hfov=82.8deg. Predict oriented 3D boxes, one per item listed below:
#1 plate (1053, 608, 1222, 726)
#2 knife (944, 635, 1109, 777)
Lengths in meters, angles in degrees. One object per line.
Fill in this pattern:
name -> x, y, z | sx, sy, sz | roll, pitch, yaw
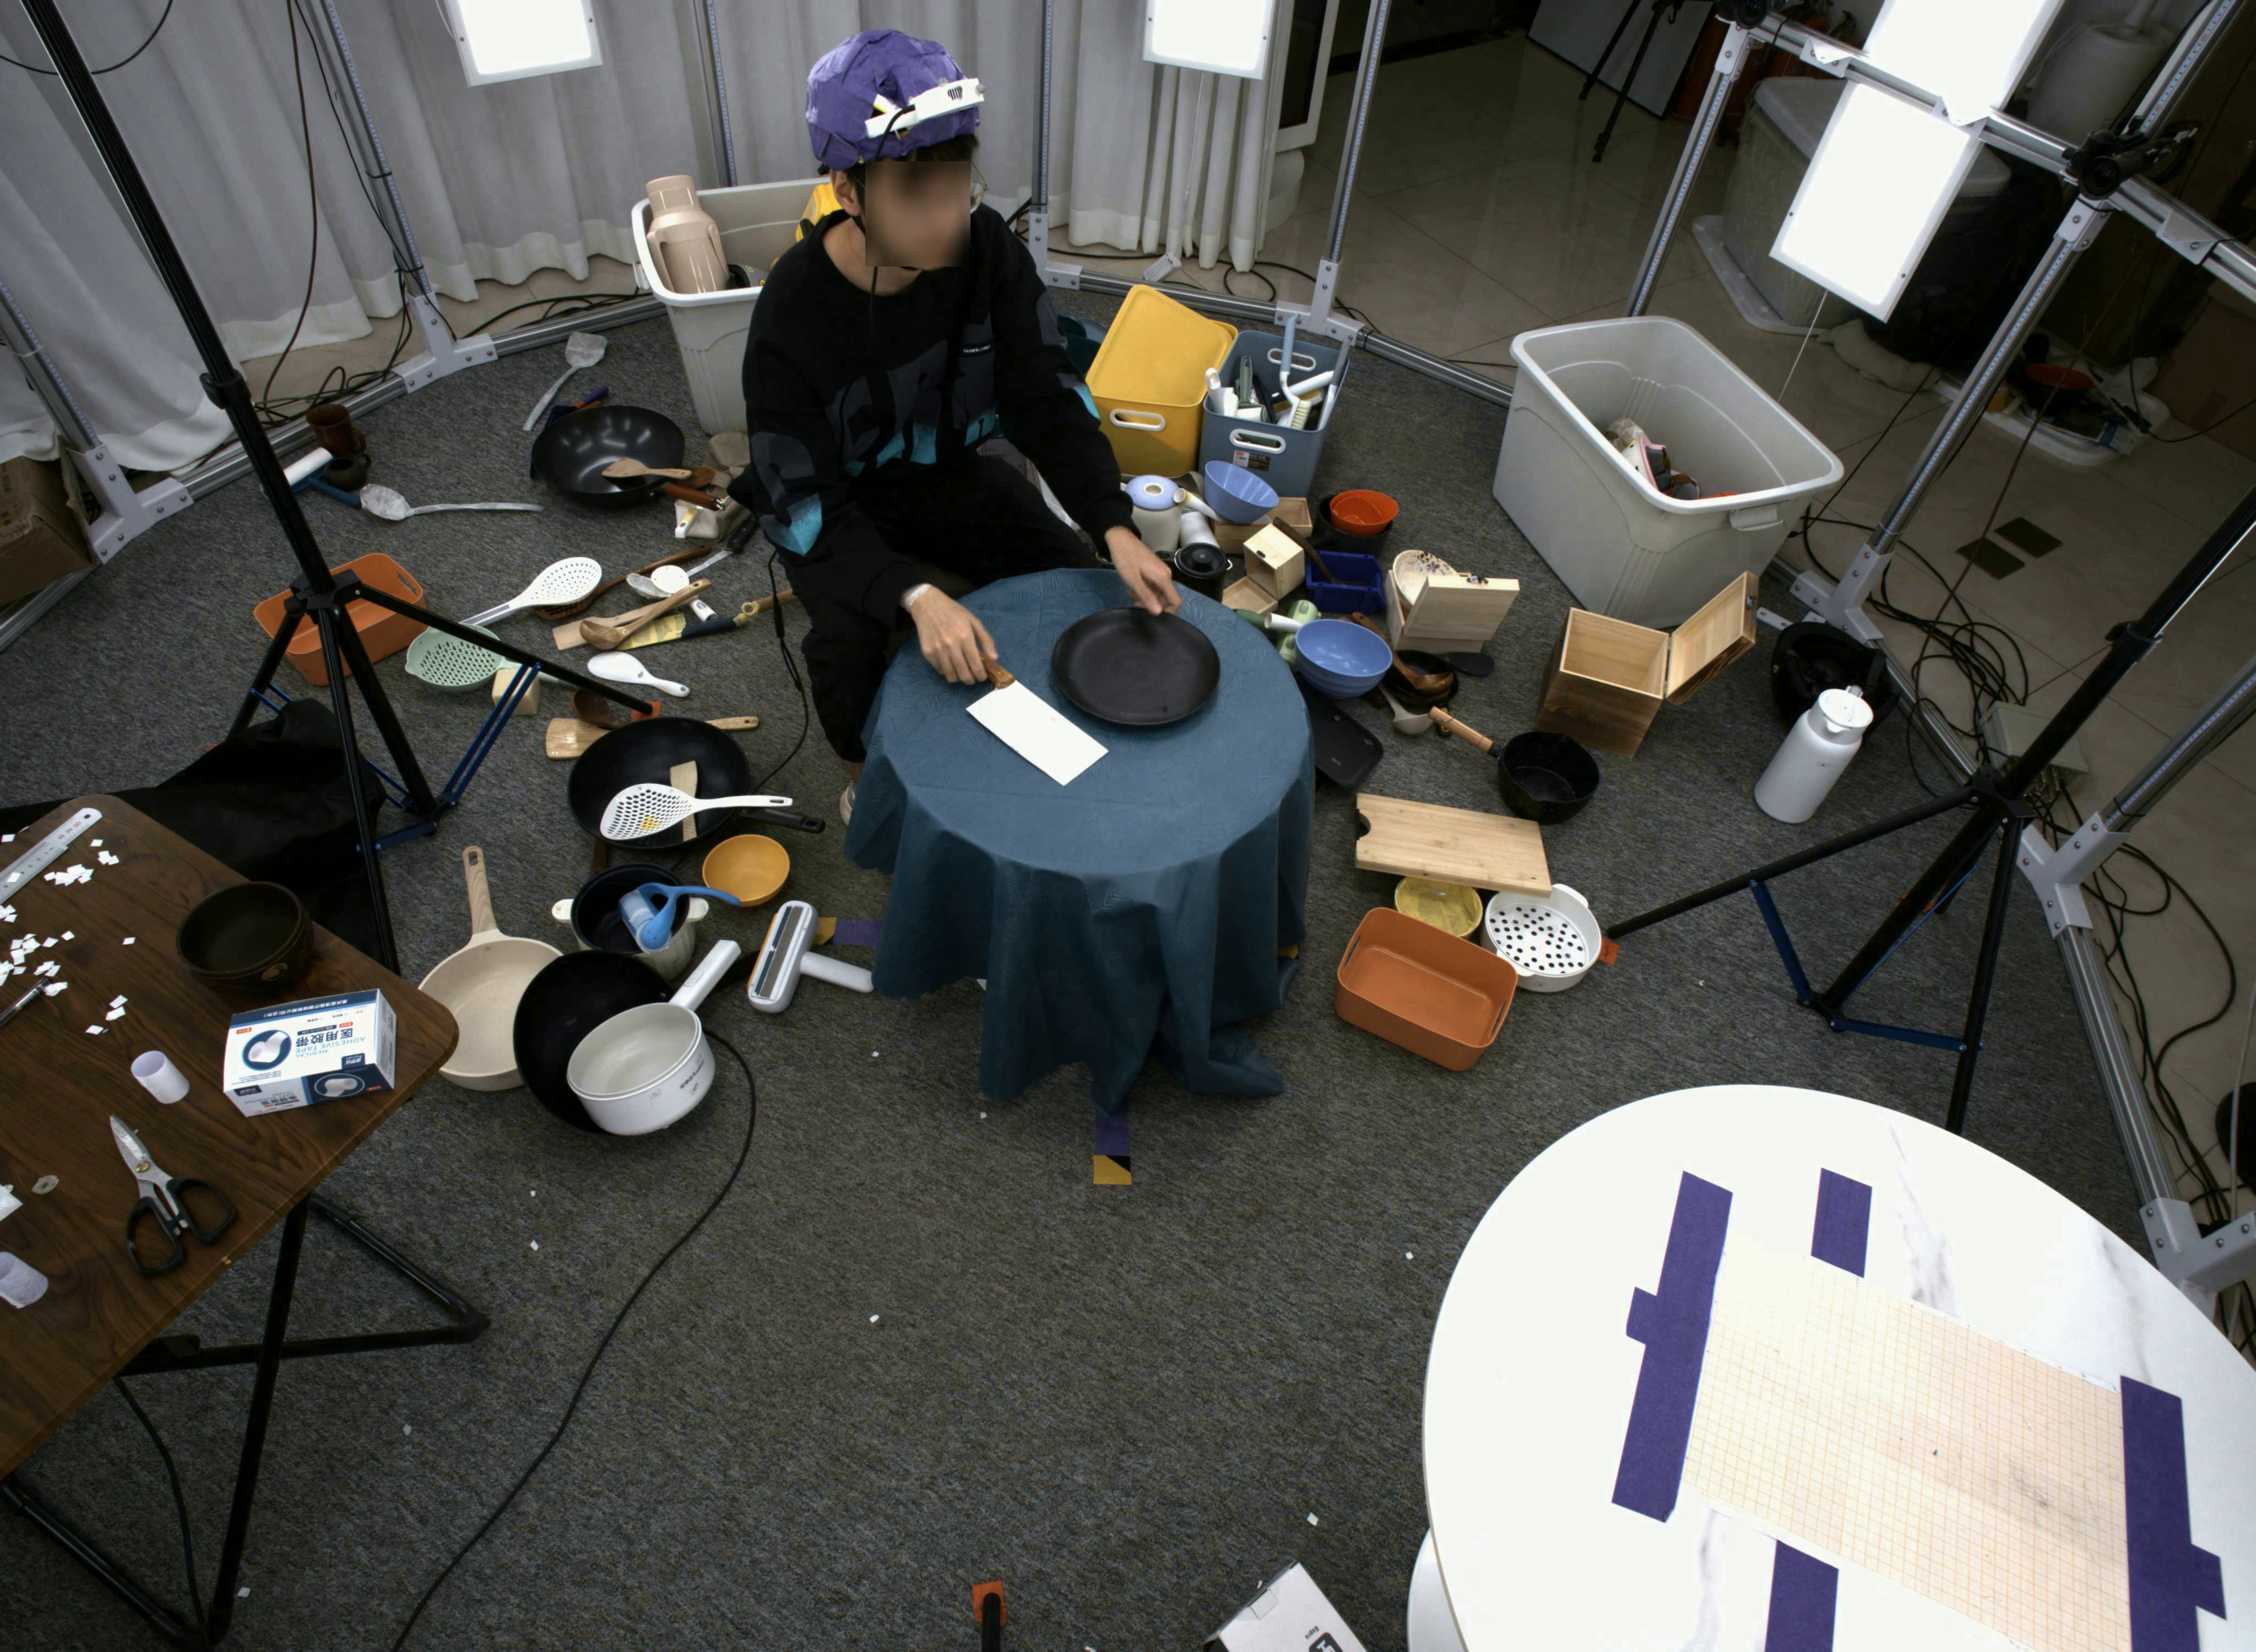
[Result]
plate -> 0.014, -0.227, 1.851 | 0.244, 0.023, 0.250 | 2, 49, -2
knife -> -0.163, -0.166, 1.792 | 0.310, 0.020, 0.094 | 38, 58, 23
